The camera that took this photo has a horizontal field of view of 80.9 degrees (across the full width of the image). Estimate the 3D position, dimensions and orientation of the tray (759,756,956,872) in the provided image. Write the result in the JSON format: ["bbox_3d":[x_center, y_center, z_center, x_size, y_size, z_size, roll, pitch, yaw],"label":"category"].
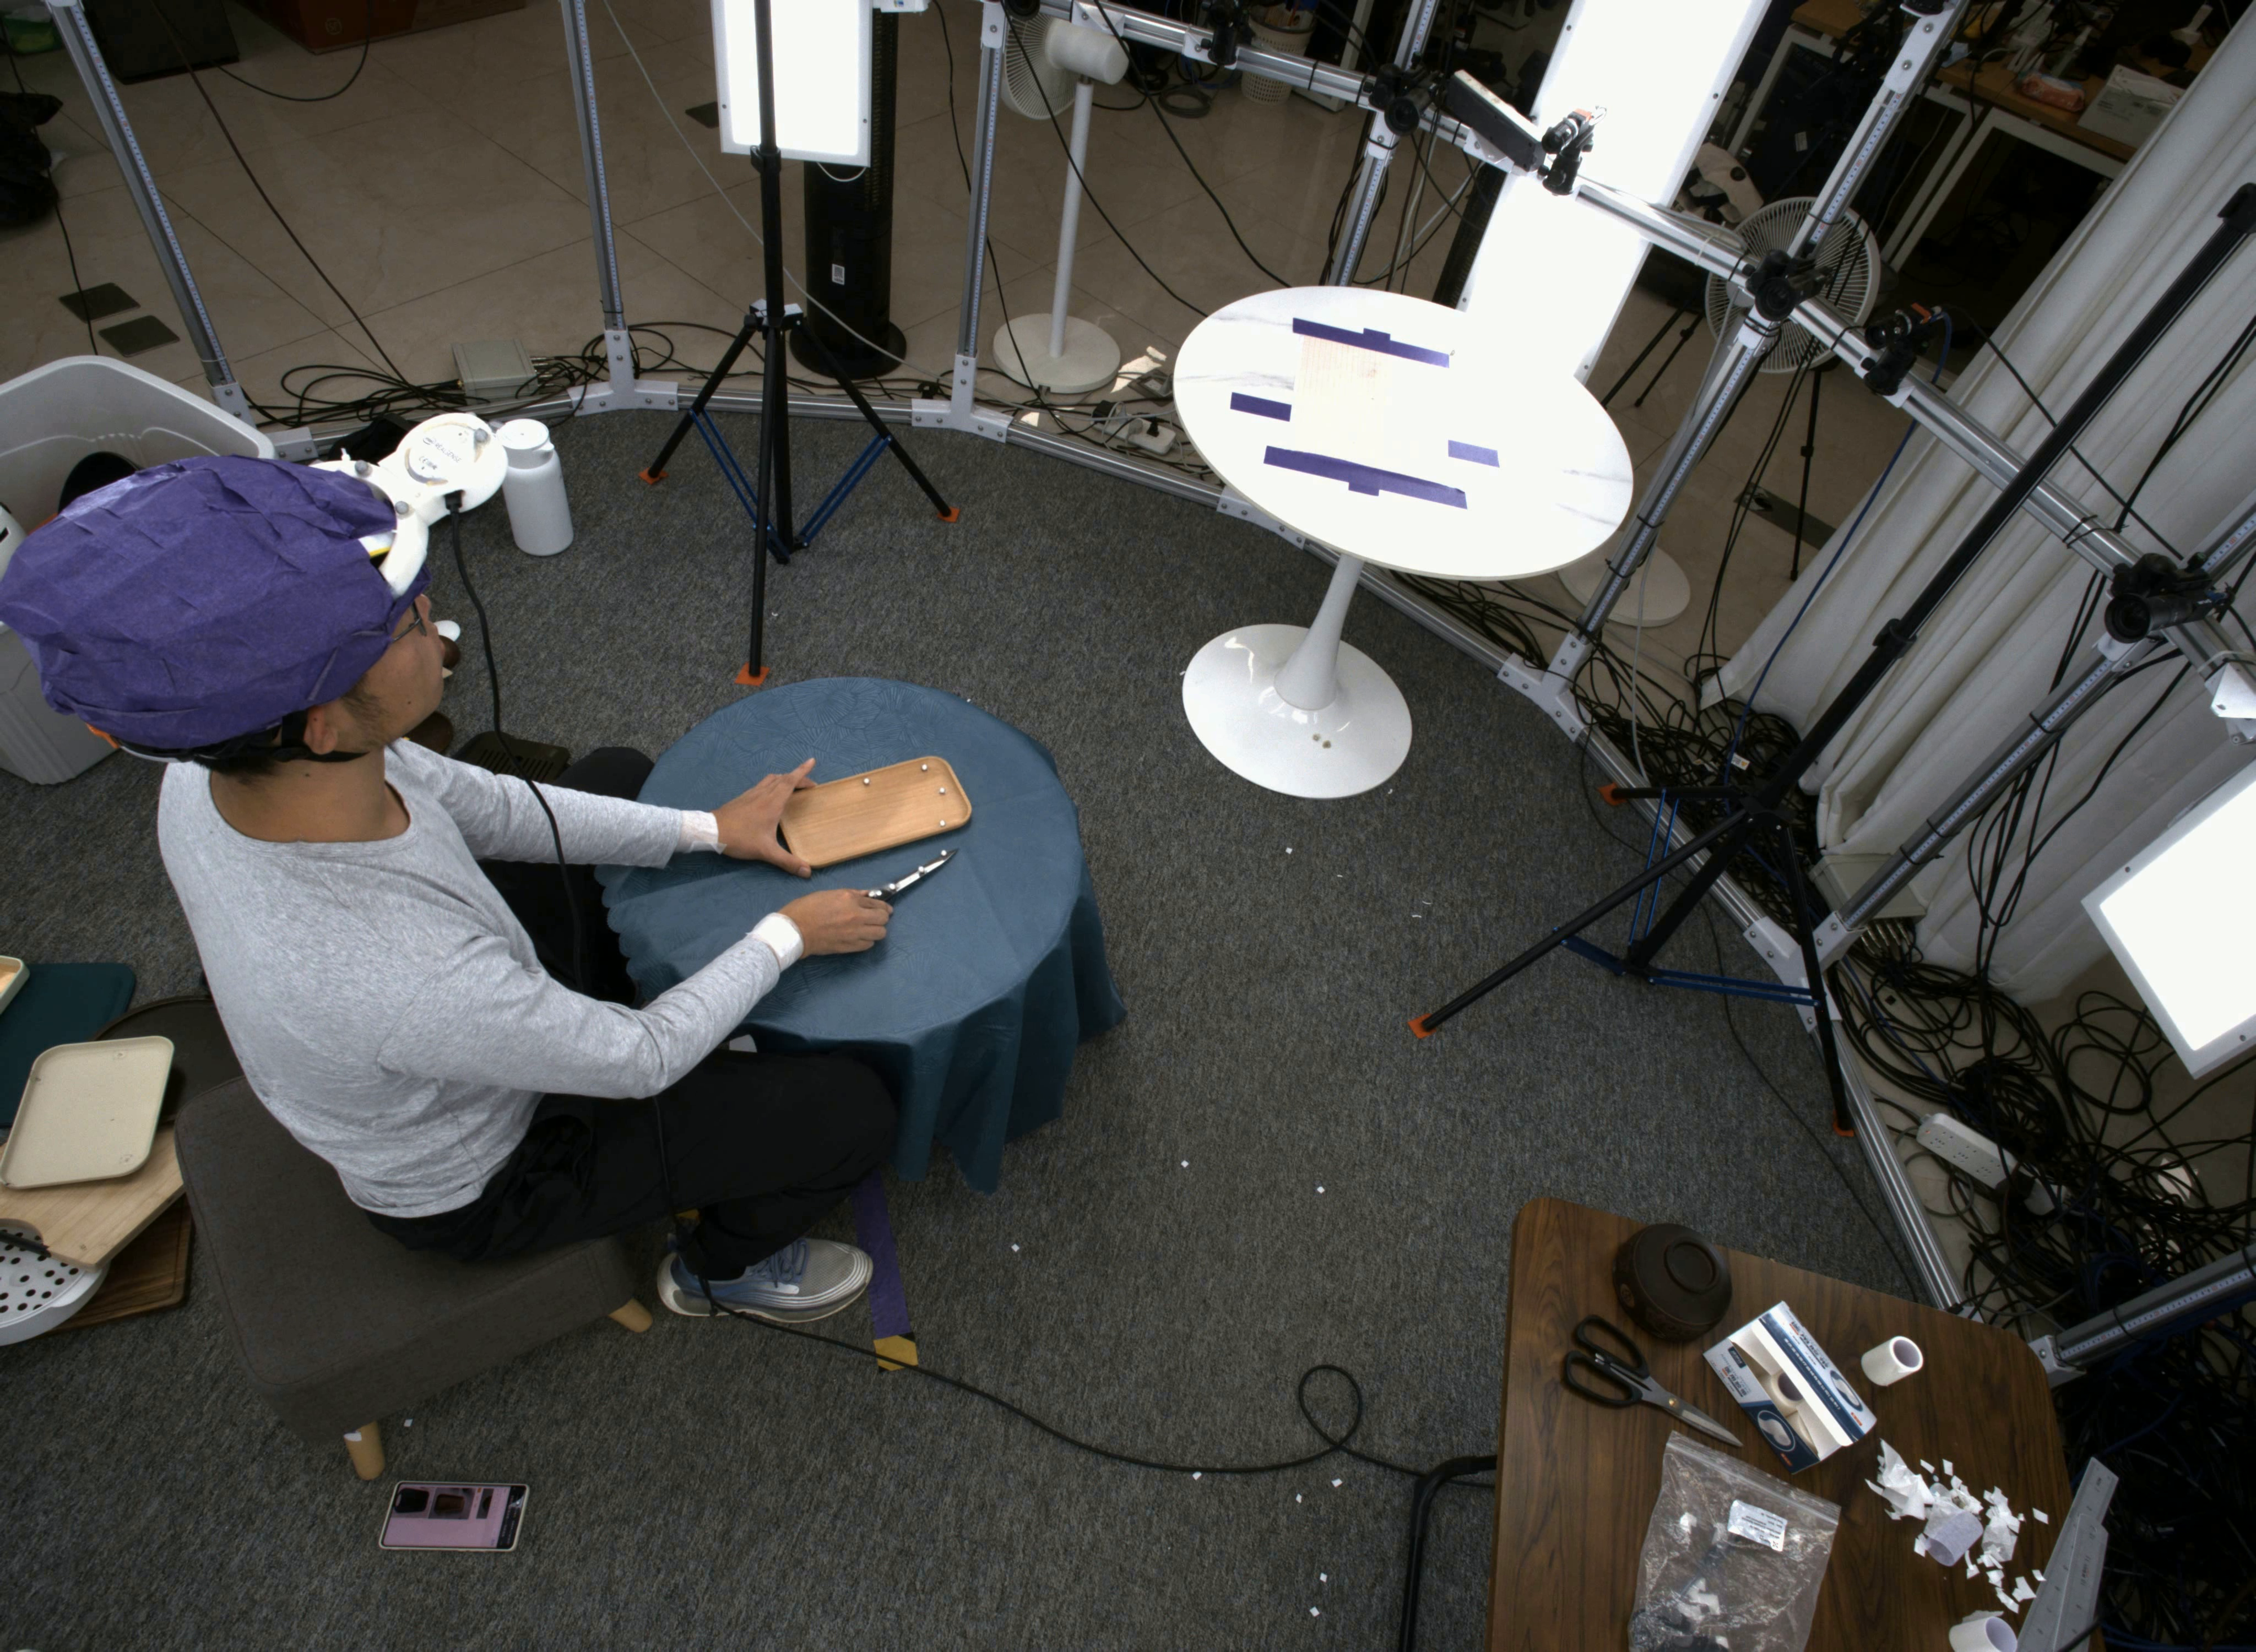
[{"bbox_3d":[-0.364,-0.018,1.754,0.252,0.023,0.127,-18,58,-24],"label":"tray"}]

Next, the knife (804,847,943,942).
[{"bbox_3d":[-0.323,0.083,1.685,0.023,0.017,0.239,24,42,31],"label":"knife"}]
